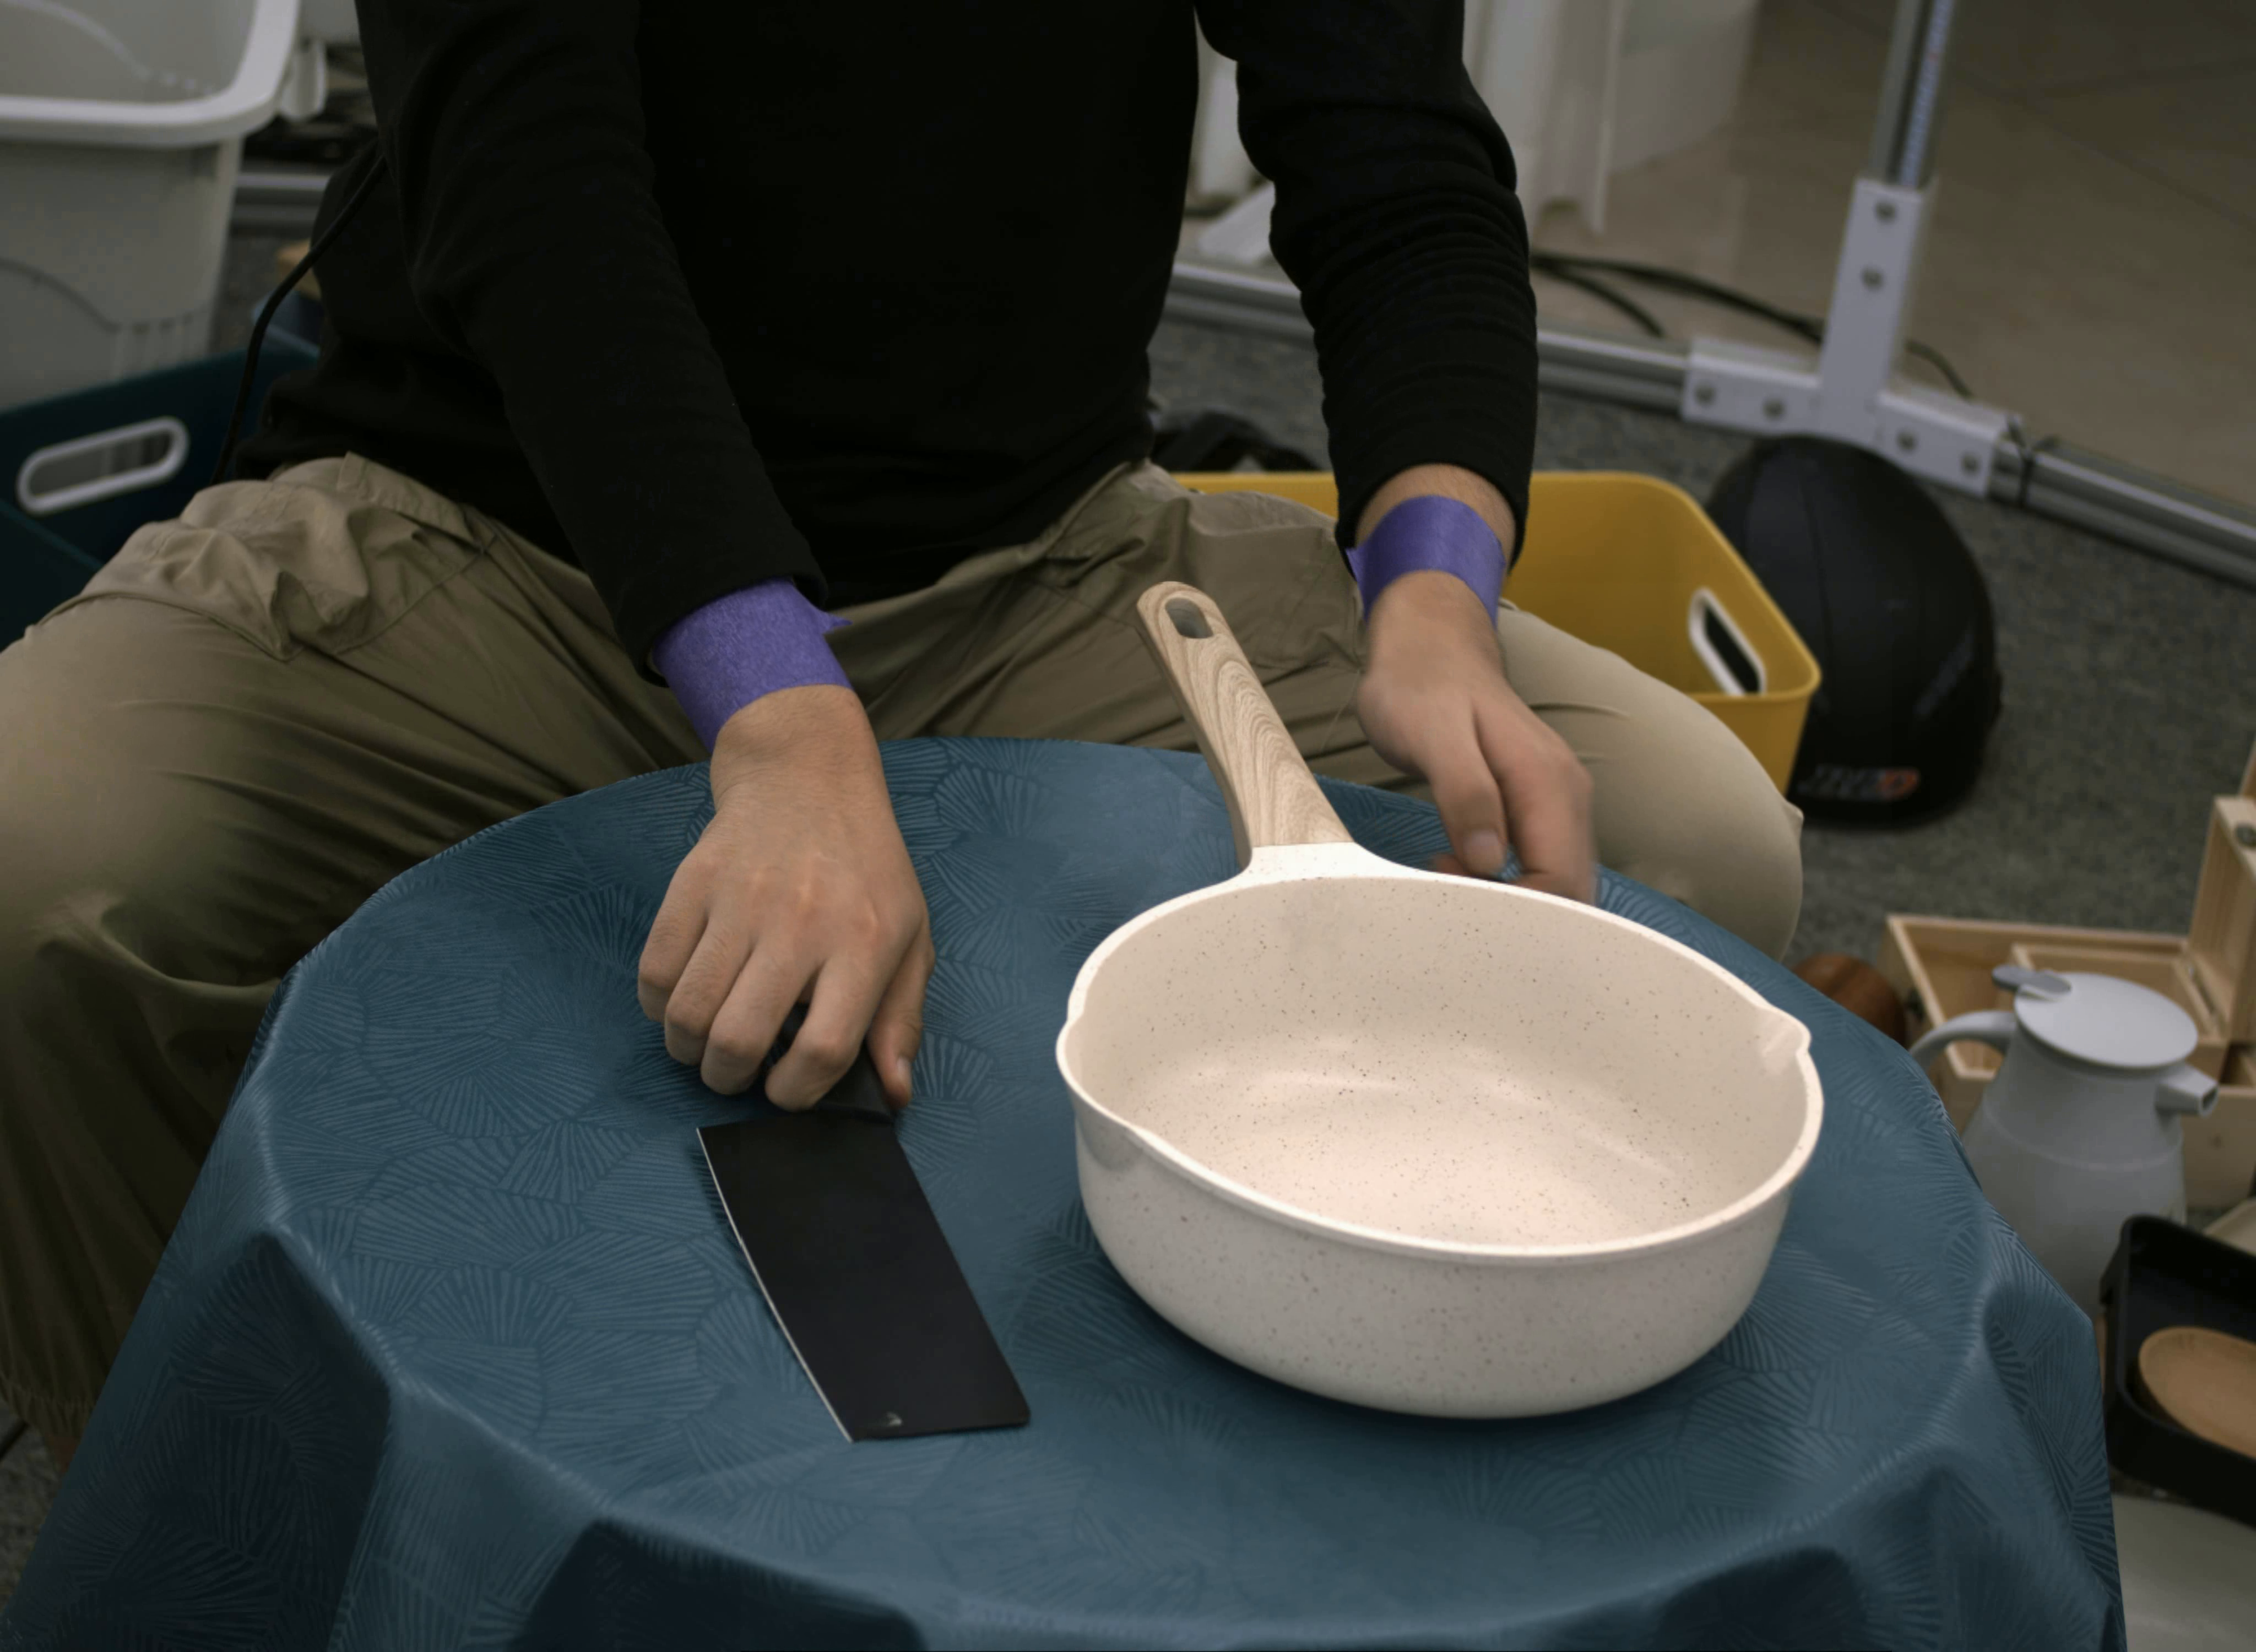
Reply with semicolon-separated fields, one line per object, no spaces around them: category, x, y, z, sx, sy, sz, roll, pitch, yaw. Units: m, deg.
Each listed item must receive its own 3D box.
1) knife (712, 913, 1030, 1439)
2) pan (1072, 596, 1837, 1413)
knife;-0.100;0.114;1.783;0.080;0.021;0.305;-3;31;-13
pan;0.077;0.058;1.842;0.262;0.101;0.439;-5;29;-18
